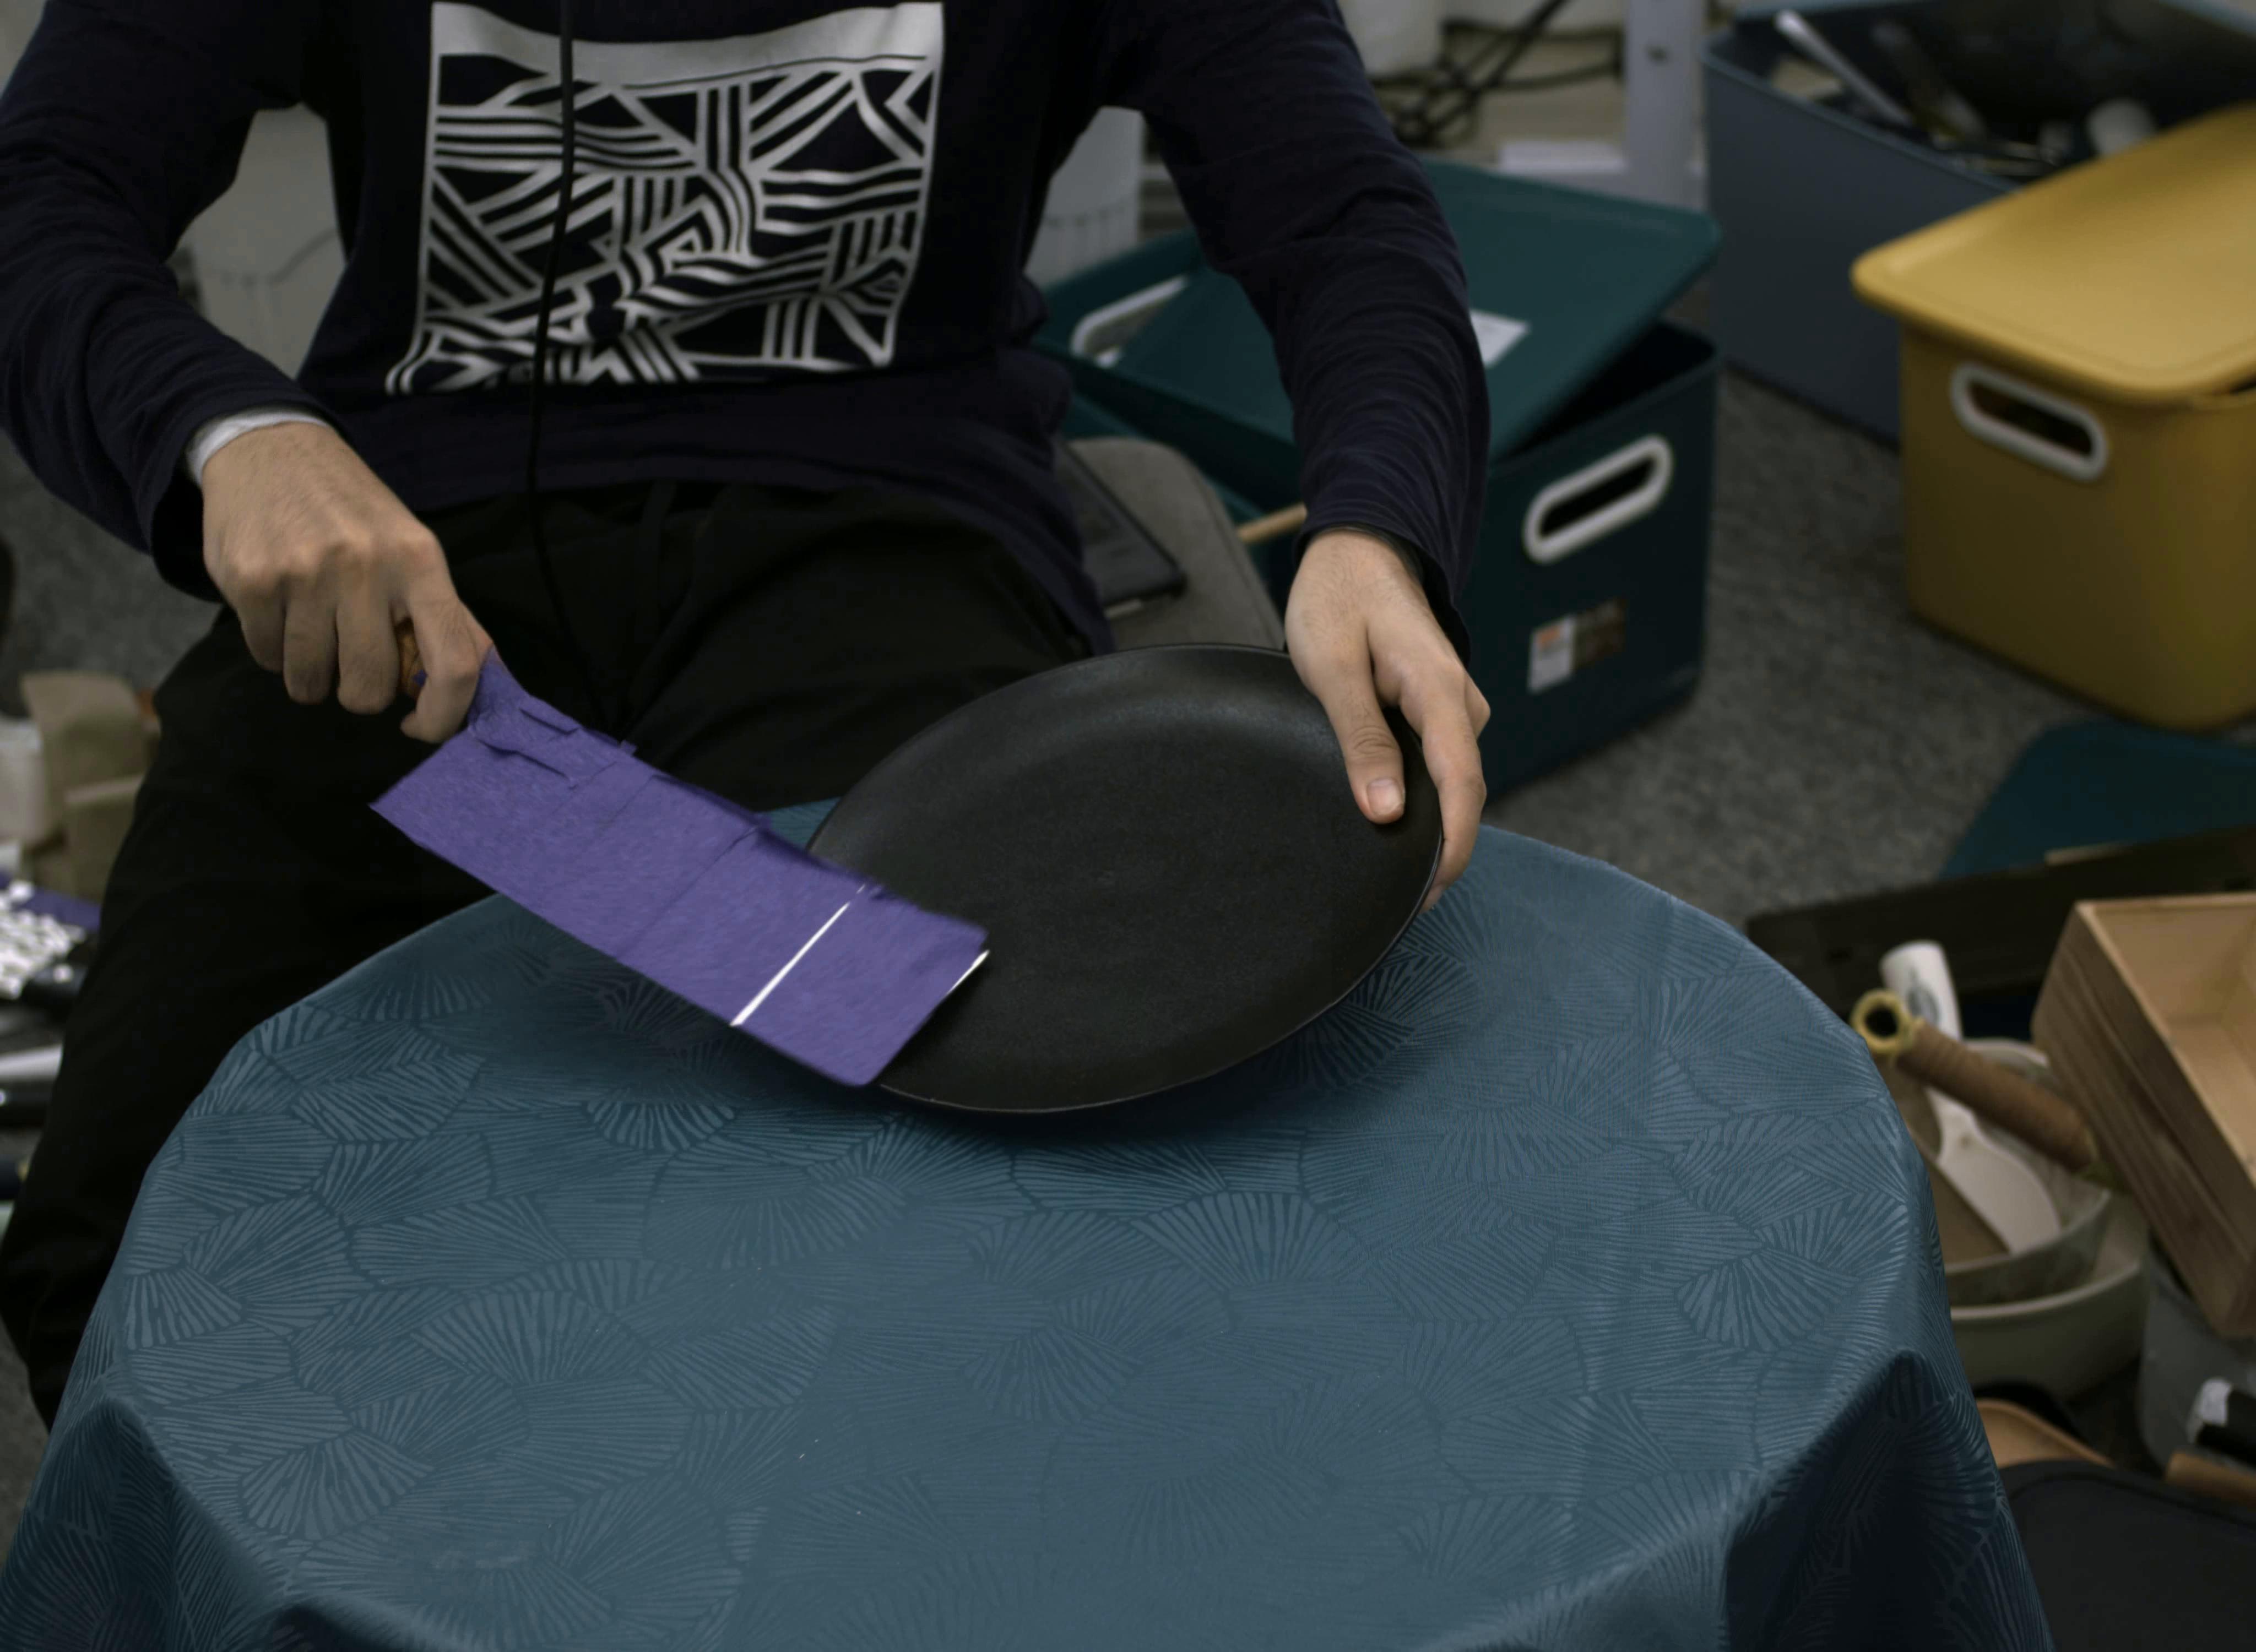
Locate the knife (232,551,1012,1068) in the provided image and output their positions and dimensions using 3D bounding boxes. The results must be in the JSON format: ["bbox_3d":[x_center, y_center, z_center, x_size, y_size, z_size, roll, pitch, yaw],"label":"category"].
[{"bbox_3d":[-0.196,-0.007,1.975,0.314,0.031,0.106,25,41,16],"label":"knife"}]

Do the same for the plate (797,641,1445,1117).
[{"bbox_3d":[-0.006,0.022,1.975,0.242,0.023,0.249,-11,39,9],"label":"plate"}]
